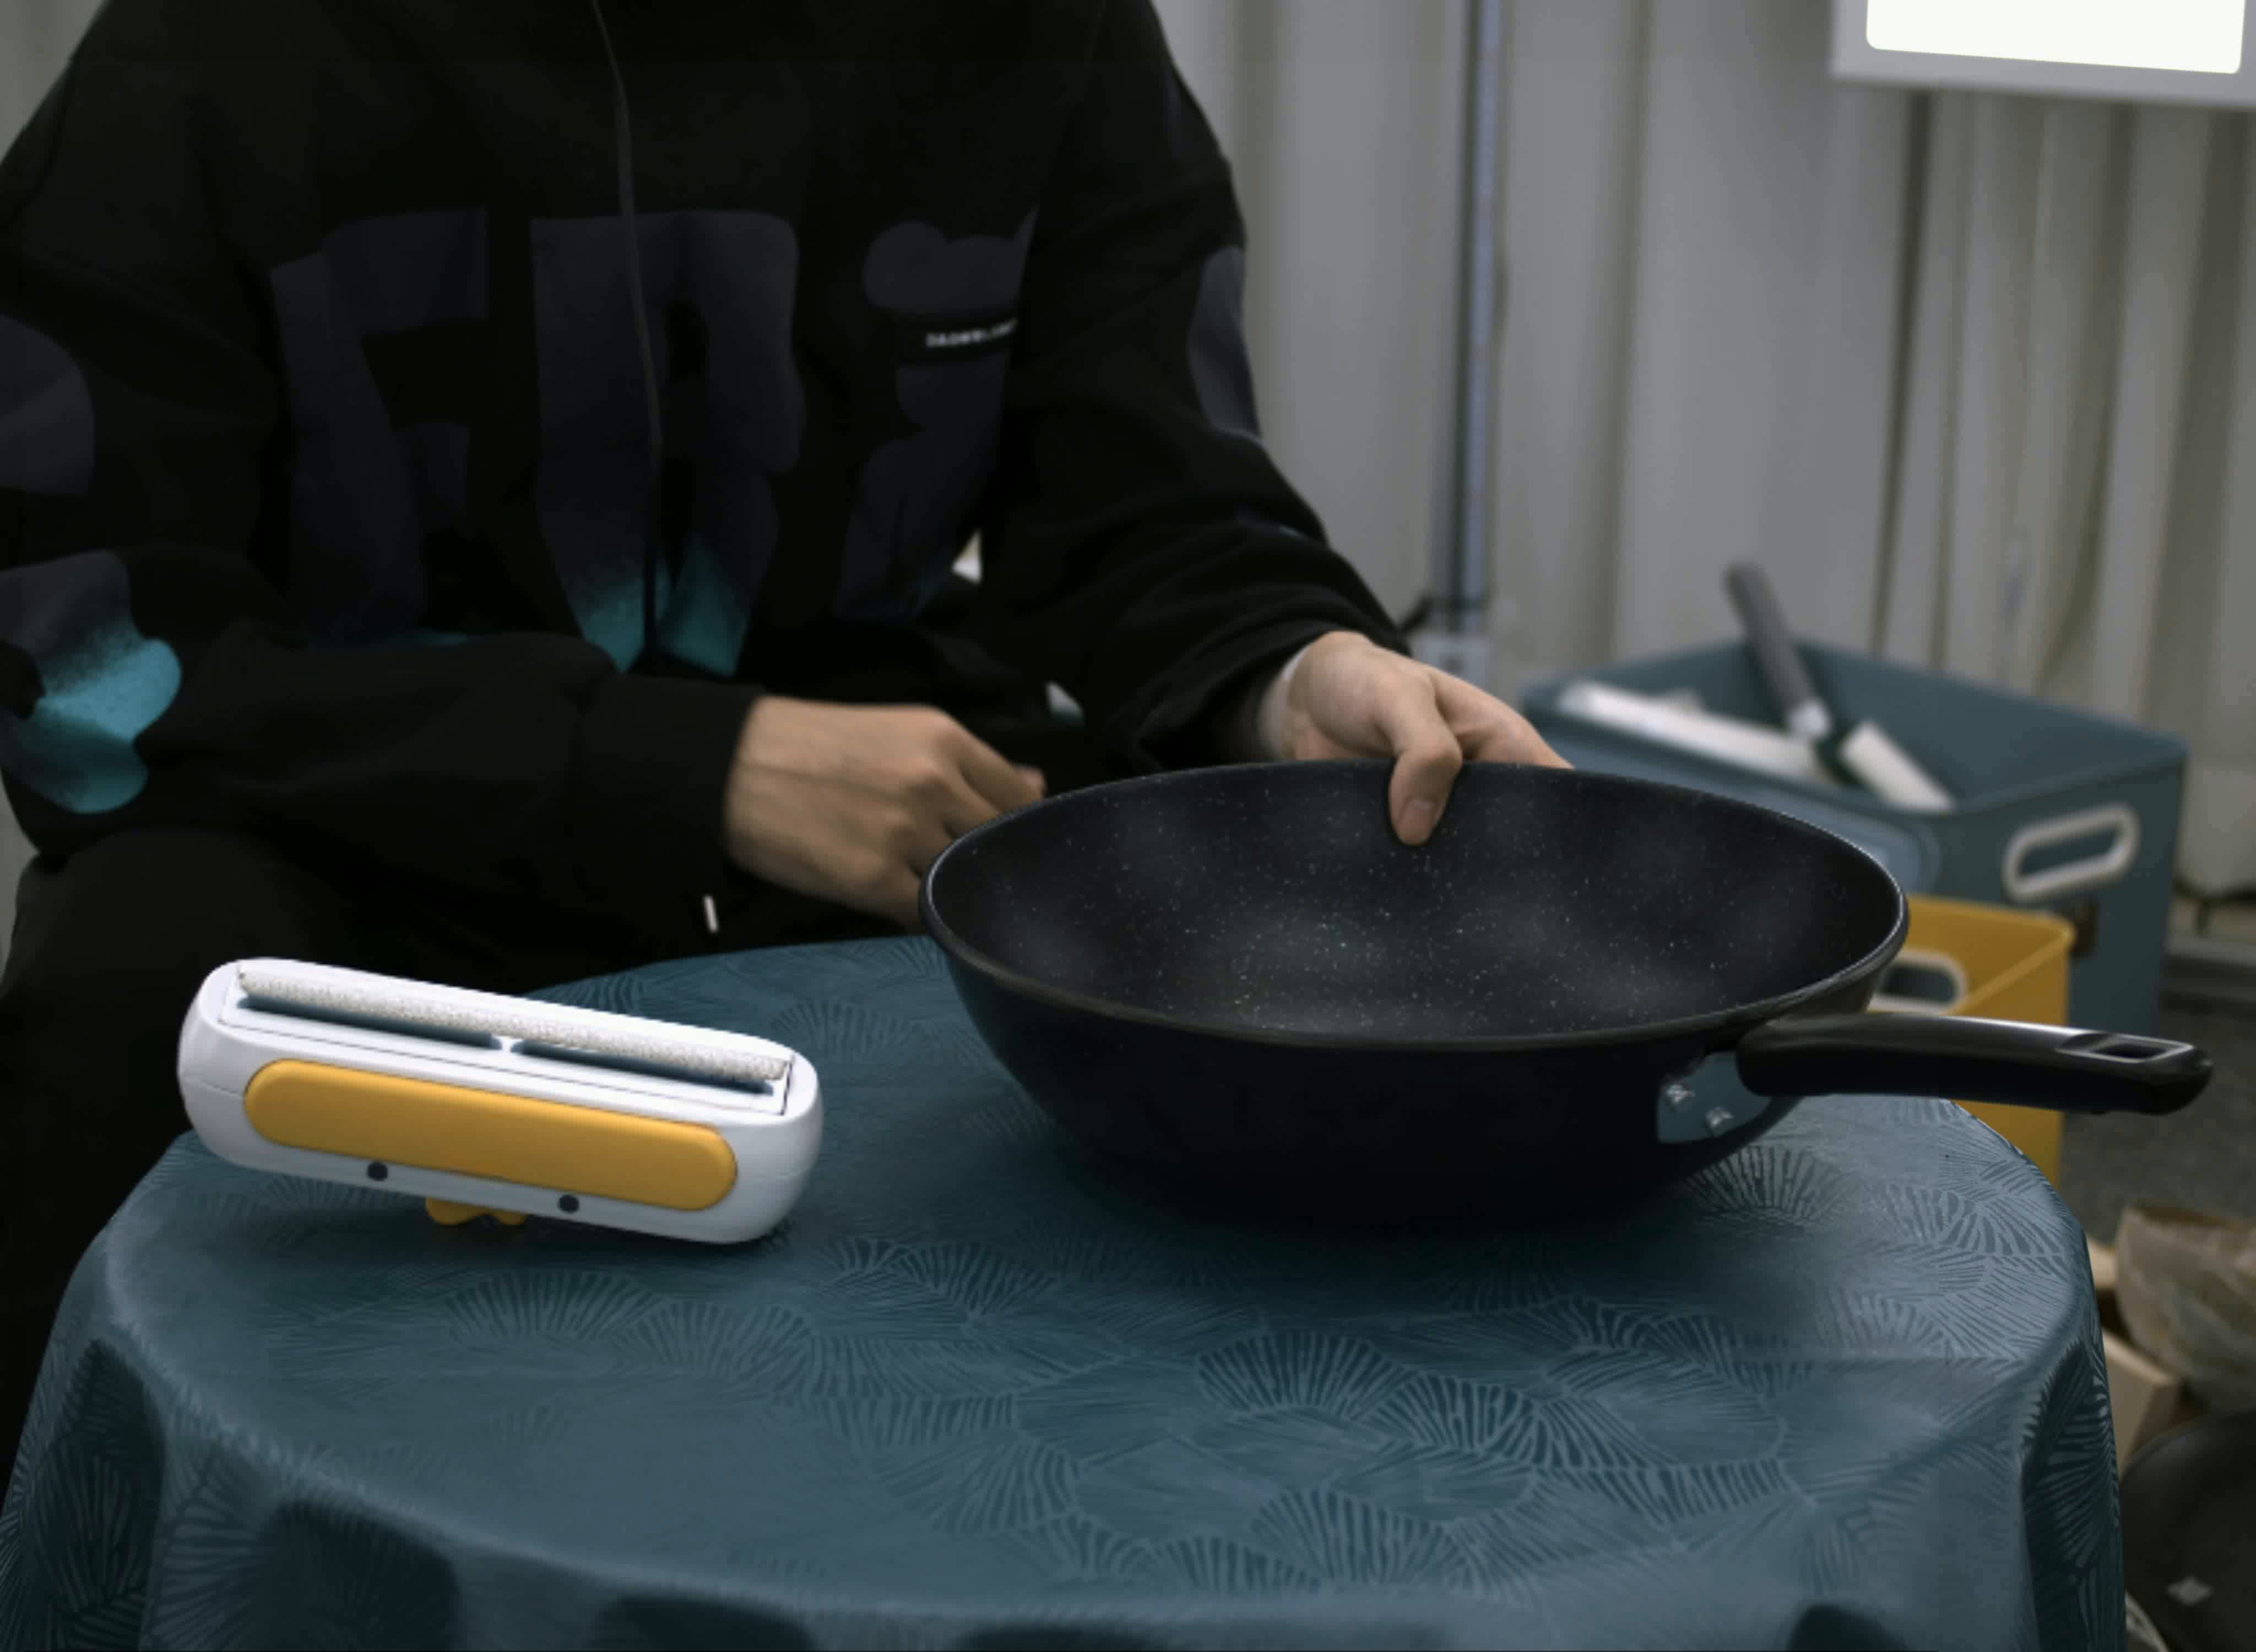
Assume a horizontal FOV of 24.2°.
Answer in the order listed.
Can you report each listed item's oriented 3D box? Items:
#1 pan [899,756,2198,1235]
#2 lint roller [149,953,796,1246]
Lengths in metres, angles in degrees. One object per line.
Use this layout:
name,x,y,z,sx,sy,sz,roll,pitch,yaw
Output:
pan,0.135,0.066,1.590,0.311,0.112,0.470,-14,20,-36
lint roller,-0.193,0.073,1.627,0.192,0.075,0.191,6,14,1
